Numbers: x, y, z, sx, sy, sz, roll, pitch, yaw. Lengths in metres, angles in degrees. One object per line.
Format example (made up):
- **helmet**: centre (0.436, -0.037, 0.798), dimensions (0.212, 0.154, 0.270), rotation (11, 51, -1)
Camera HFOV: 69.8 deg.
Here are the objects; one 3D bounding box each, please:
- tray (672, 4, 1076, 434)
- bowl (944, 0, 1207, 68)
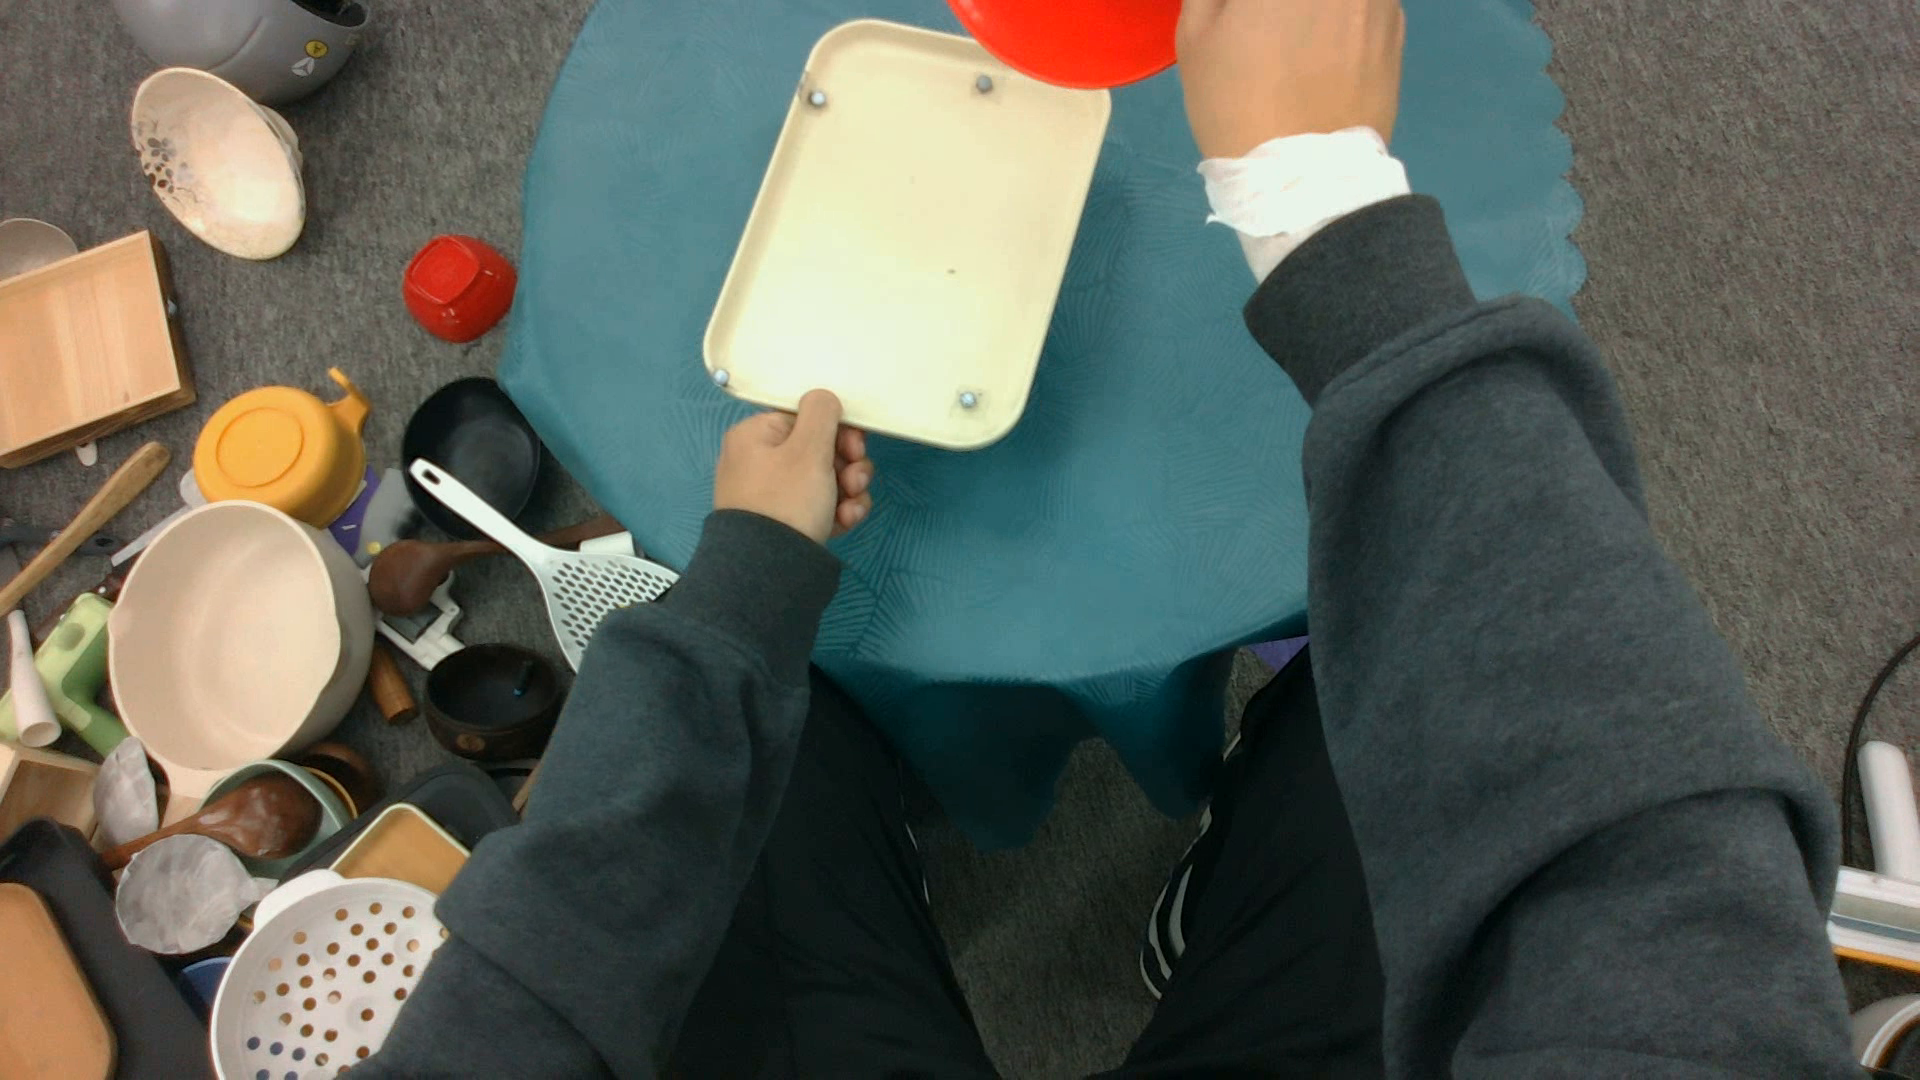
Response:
- **tray**: centre (-0.042, -0.173, 0.728), dimensions (0.171, 0.017, 0.240), rotation (14, 71, 5)
- **bowl**: centre (0.065, -0.279, 0.565), dimensions (0.148, 0.147, 0.105), rotation (38, 43, 14)
